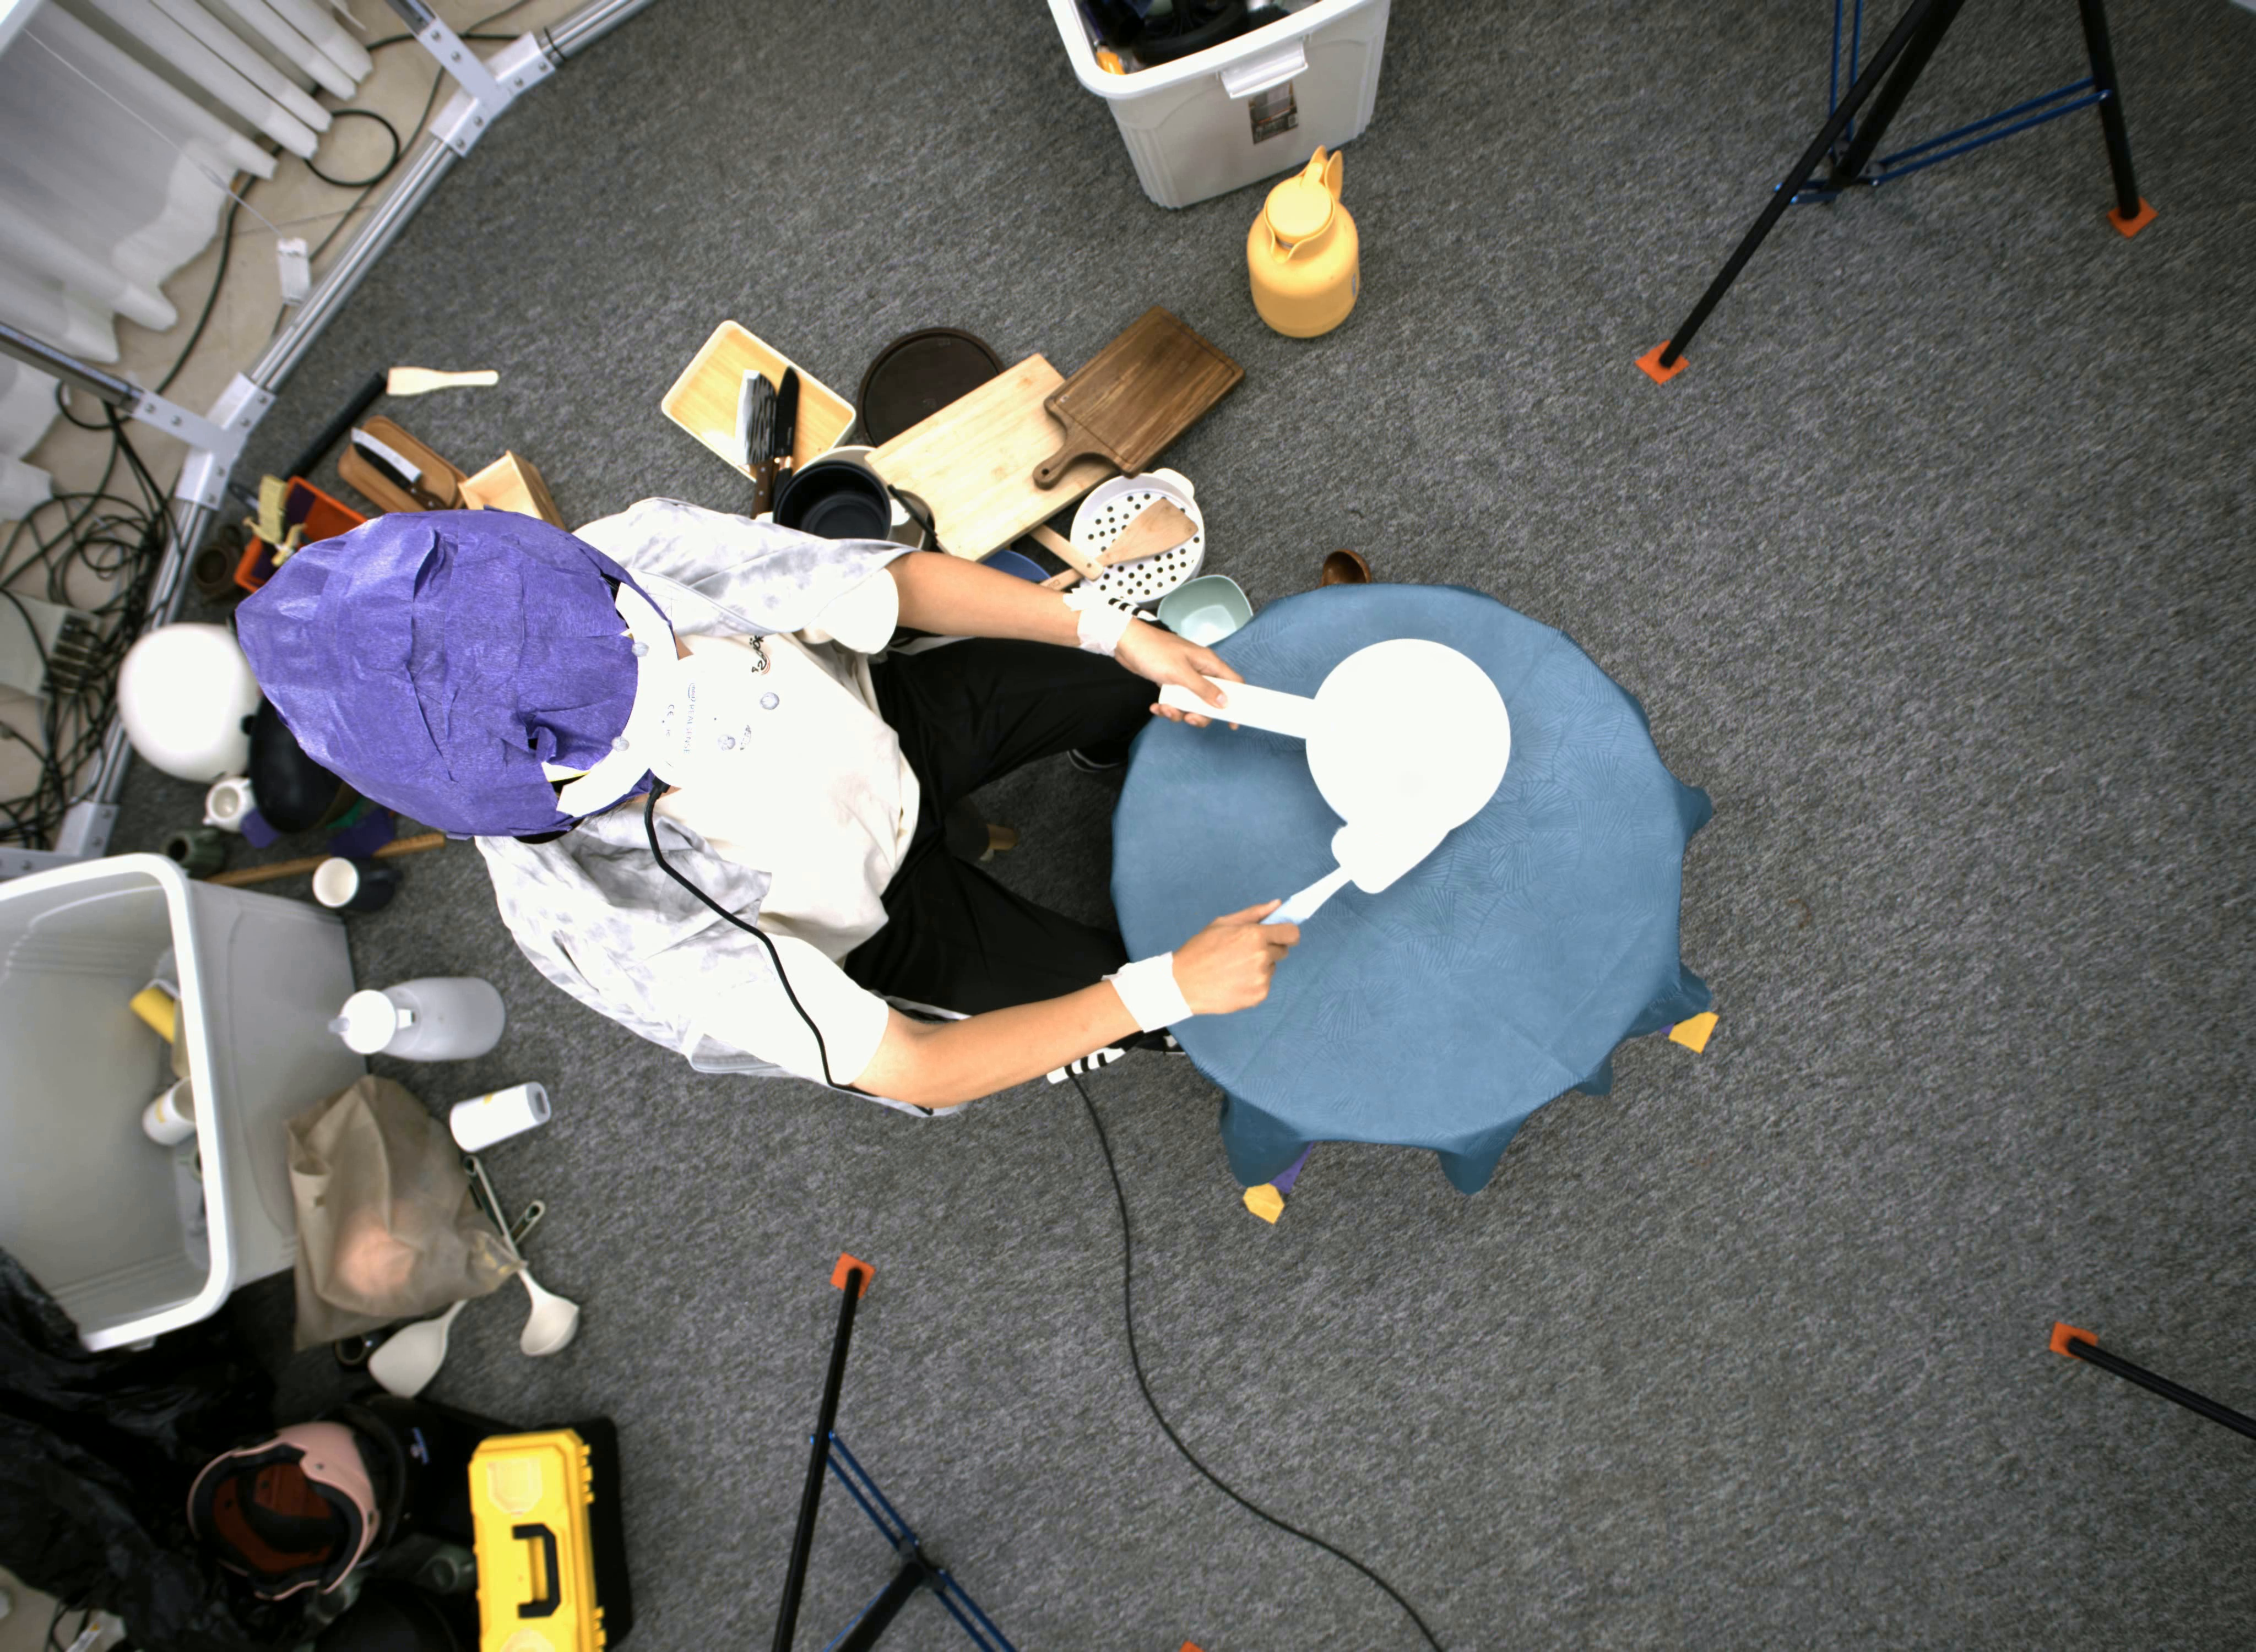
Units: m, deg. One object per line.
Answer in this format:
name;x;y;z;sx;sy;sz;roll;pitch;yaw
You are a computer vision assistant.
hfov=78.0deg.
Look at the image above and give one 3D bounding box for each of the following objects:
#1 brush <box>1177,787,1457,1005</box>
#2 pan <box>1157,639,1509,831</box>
brush;0.180;0.065;1.342;0.327;0.085;0.081;-38;47;7
pan;0.208;-0.102;1.422;0.355;0.102;0.201;13;89;9
